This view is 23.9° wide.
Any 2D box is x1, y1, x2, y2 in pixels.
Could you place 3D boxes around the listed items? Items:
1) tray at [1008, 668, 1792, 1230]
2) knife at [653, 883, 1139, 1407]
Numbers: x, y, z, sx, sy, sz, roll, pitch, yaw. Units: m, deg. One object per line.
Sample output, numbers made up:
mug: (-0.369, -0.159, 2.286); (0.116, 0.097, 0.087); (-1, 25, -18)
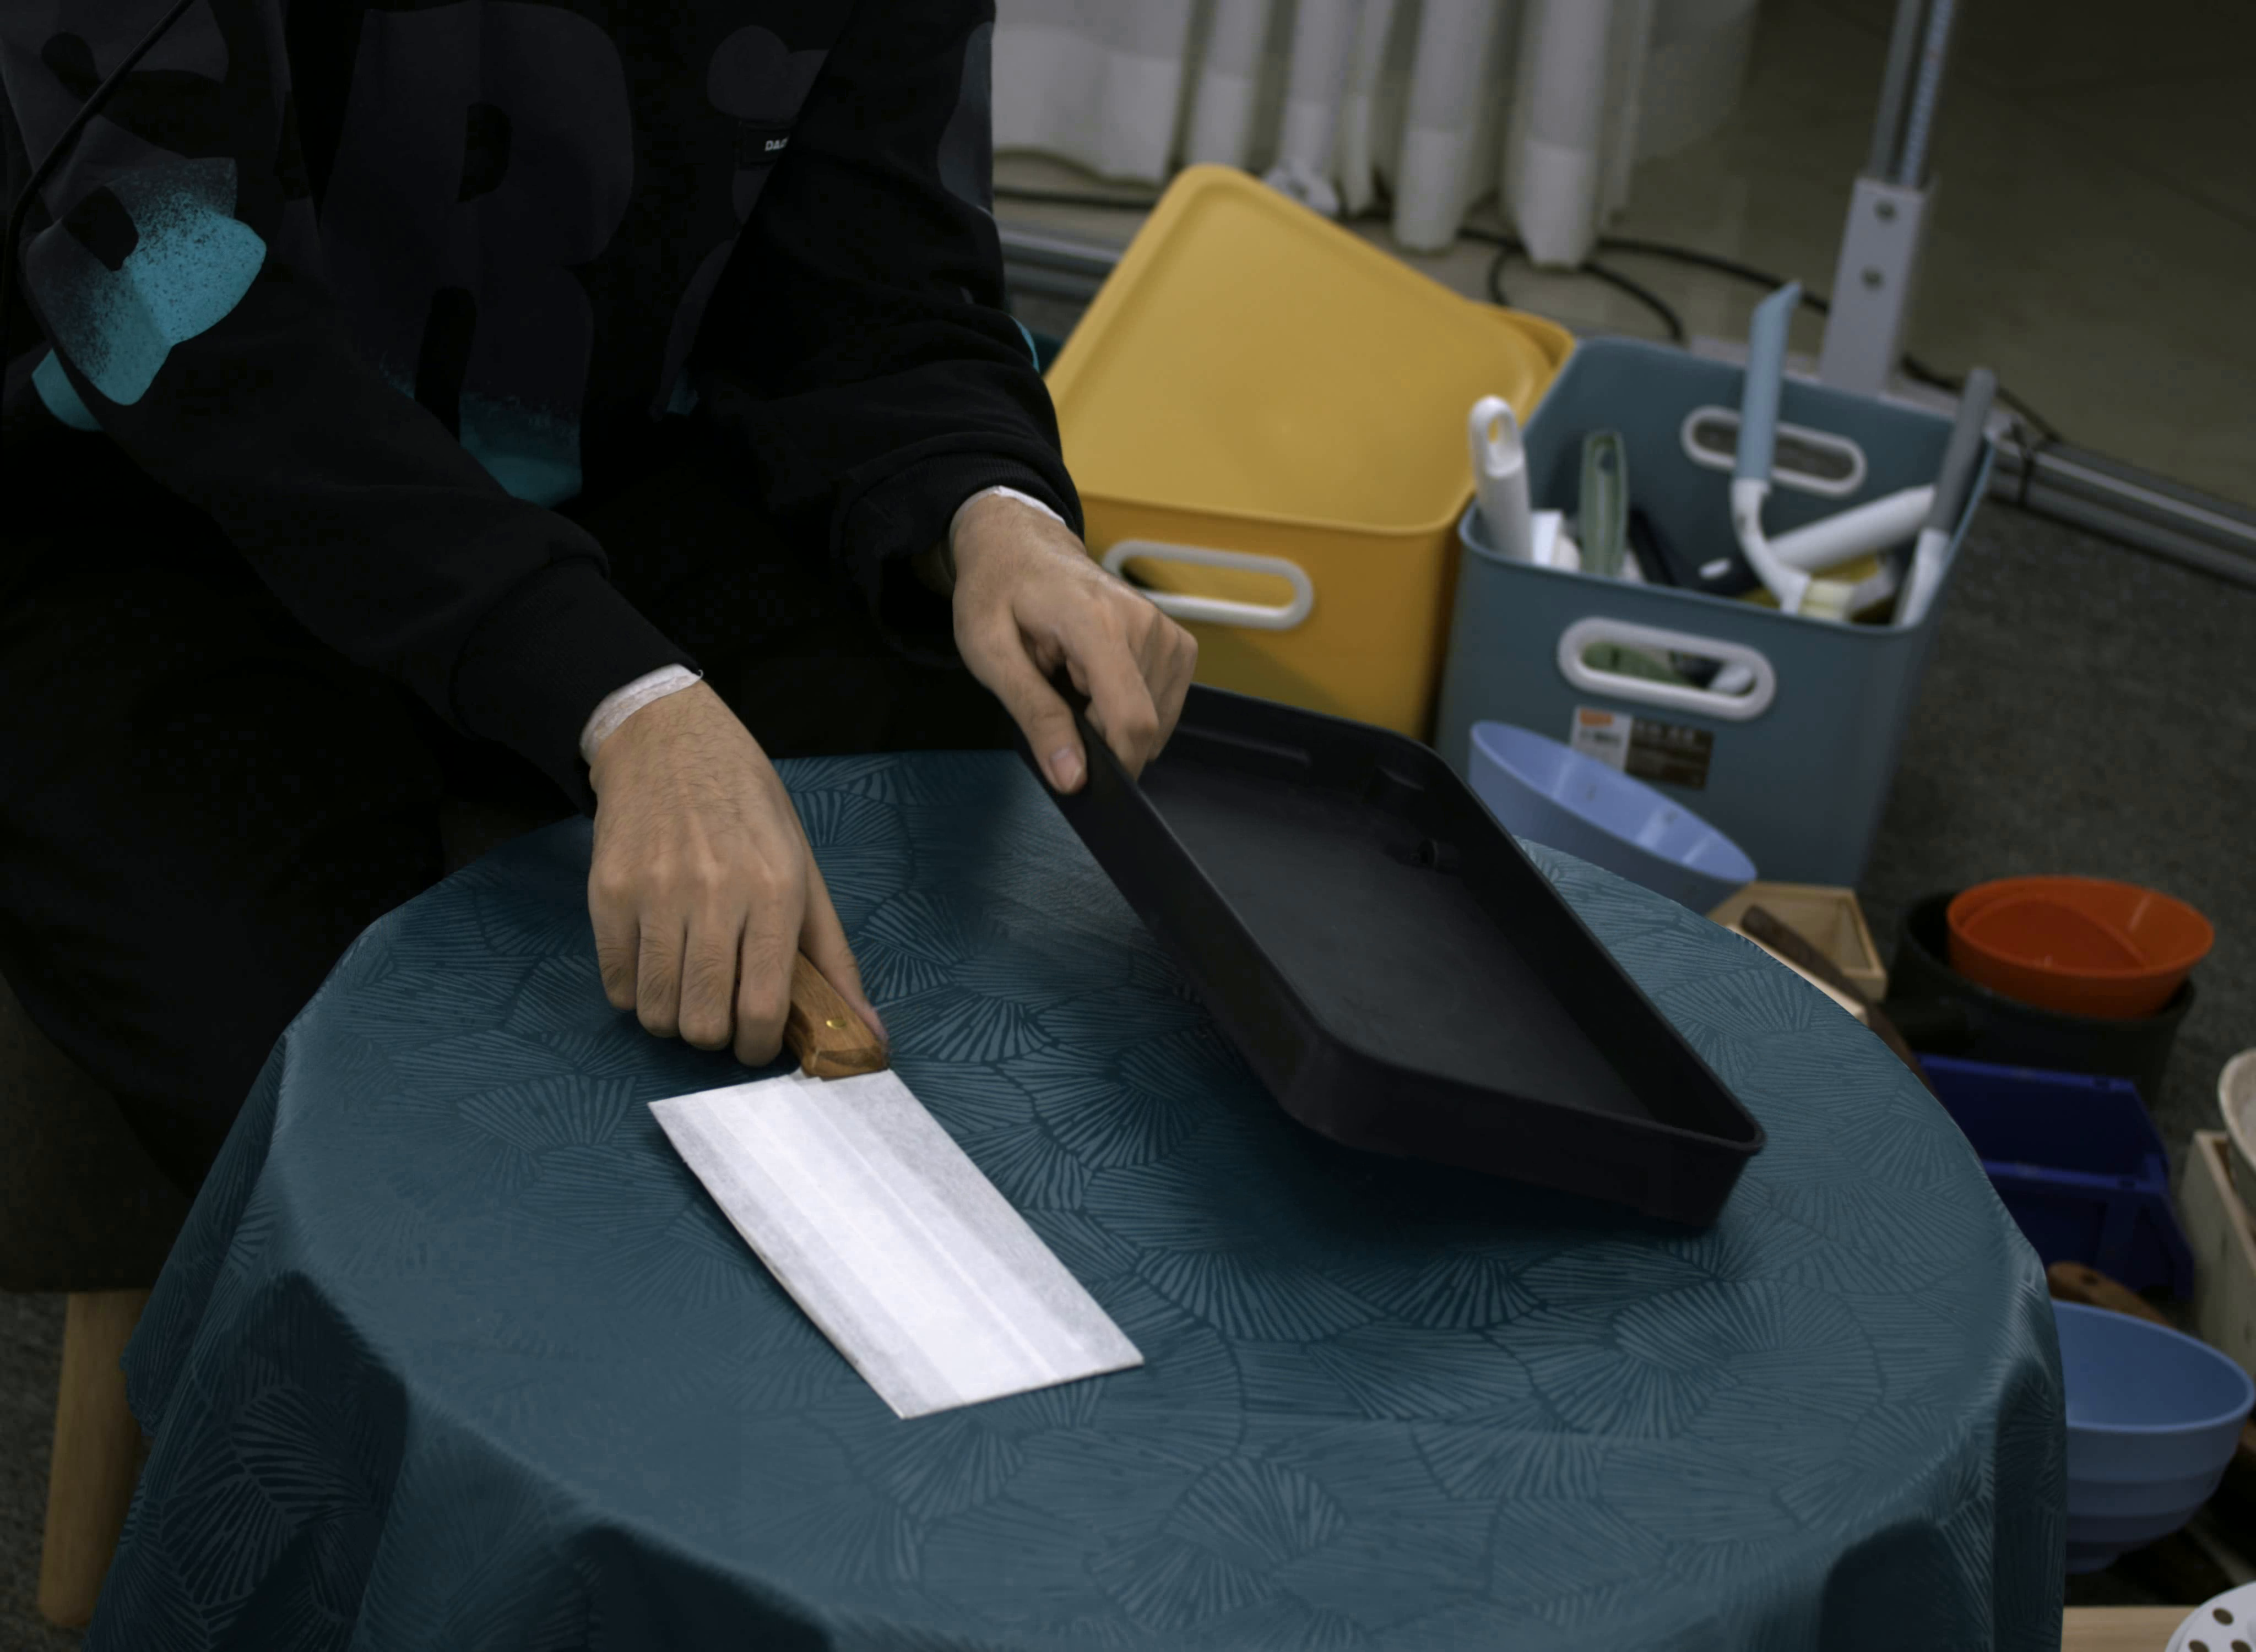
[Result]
tray: (0.090, 0.040, 1.893); (0.183, 0.037, 0.321); (12, 21, -30)
knife: (-0.105, 0.105, 1.797); (0.092, 0.021, 0.308); (-10, 34, -28)
